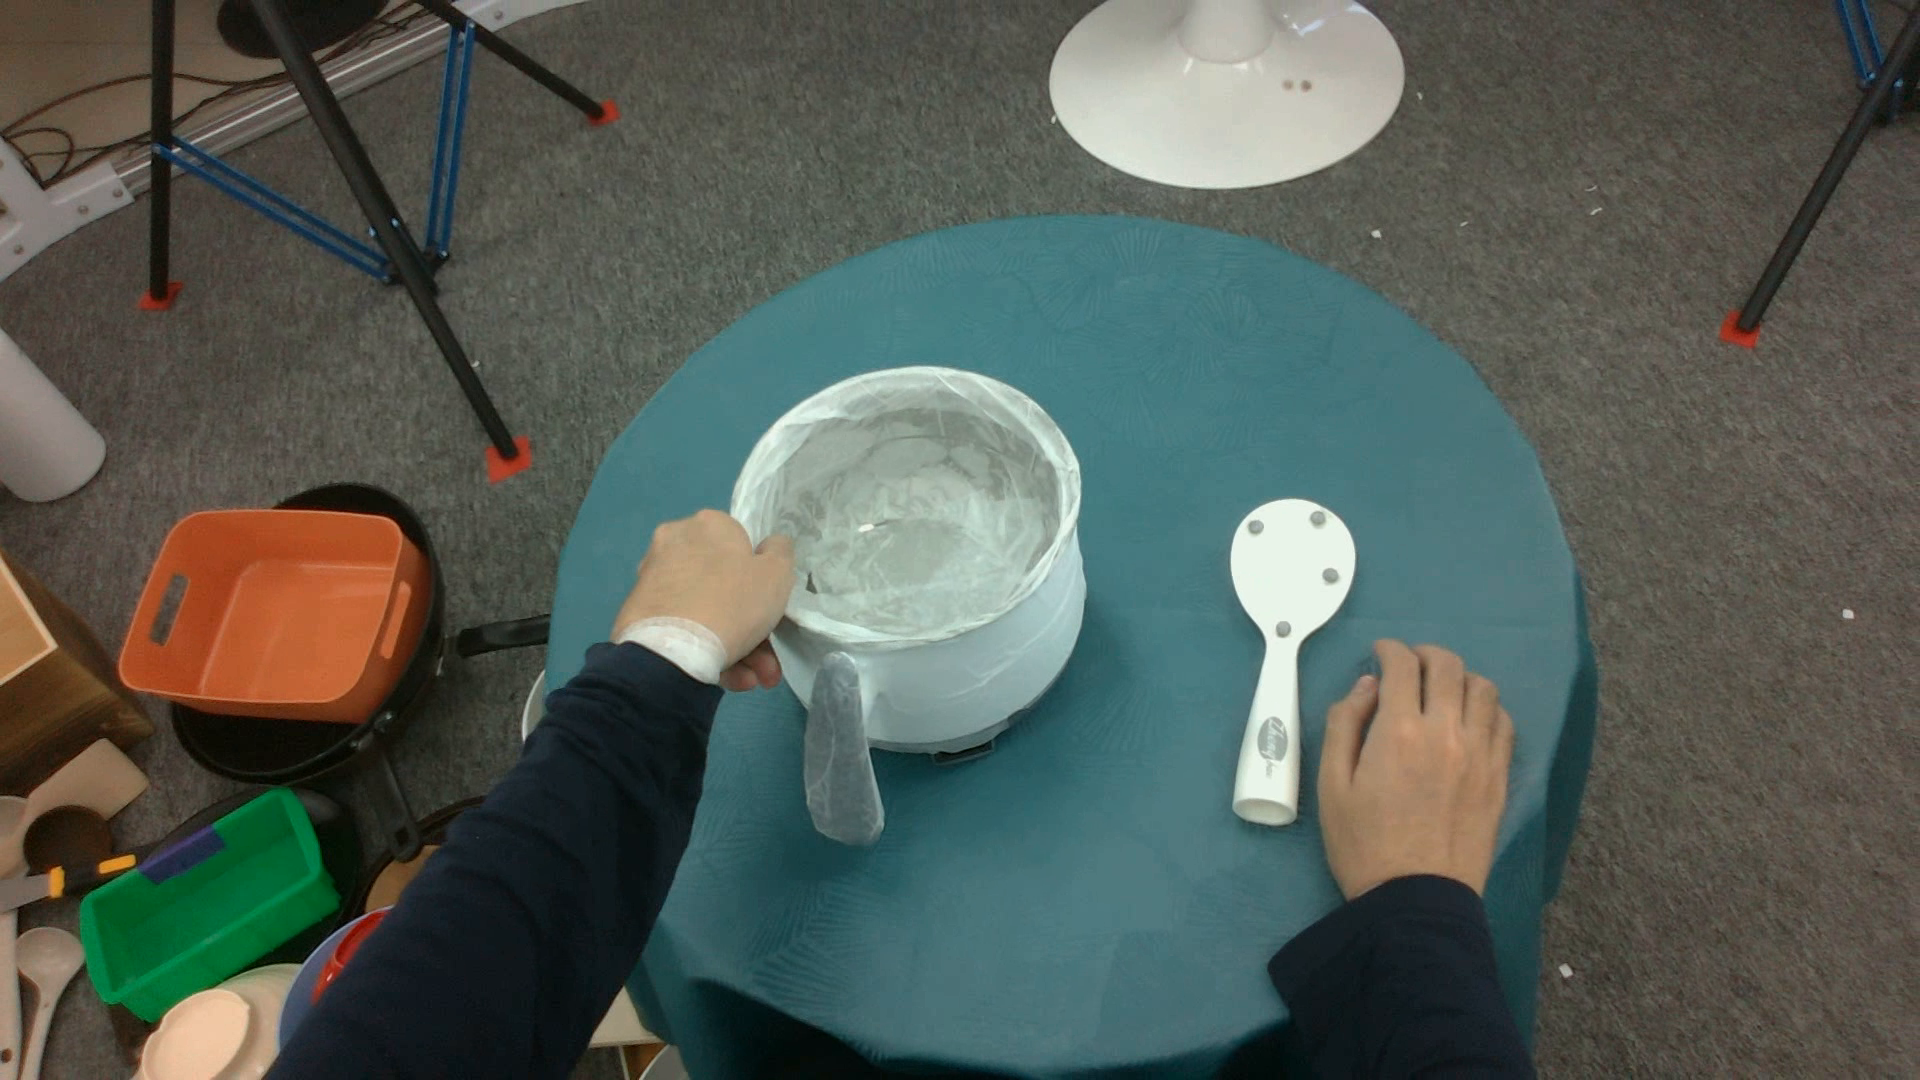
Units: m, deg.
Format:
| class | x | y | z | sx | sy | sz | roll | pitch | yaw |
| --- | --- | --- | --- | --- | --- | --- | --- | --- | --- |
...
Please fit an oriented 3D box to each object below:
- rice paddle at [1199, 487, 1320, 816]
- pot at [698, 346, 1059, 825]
| class | x | y | z | sx | sy | sz | roll | pitch | yaw |
| --- | --- | --- | --- | --- | --- | --- | --- | --- | --- |
| rice paddle | 0.160 | 0.051 | 0.755 | 0.069 | 0.029 | 0.206 | 8 | 56 | 8 |
| pot | -0.044 | 0.025 | 0.722 | 0.178 | 0.136 | 0.235 | 8 | 54 | 14 |
